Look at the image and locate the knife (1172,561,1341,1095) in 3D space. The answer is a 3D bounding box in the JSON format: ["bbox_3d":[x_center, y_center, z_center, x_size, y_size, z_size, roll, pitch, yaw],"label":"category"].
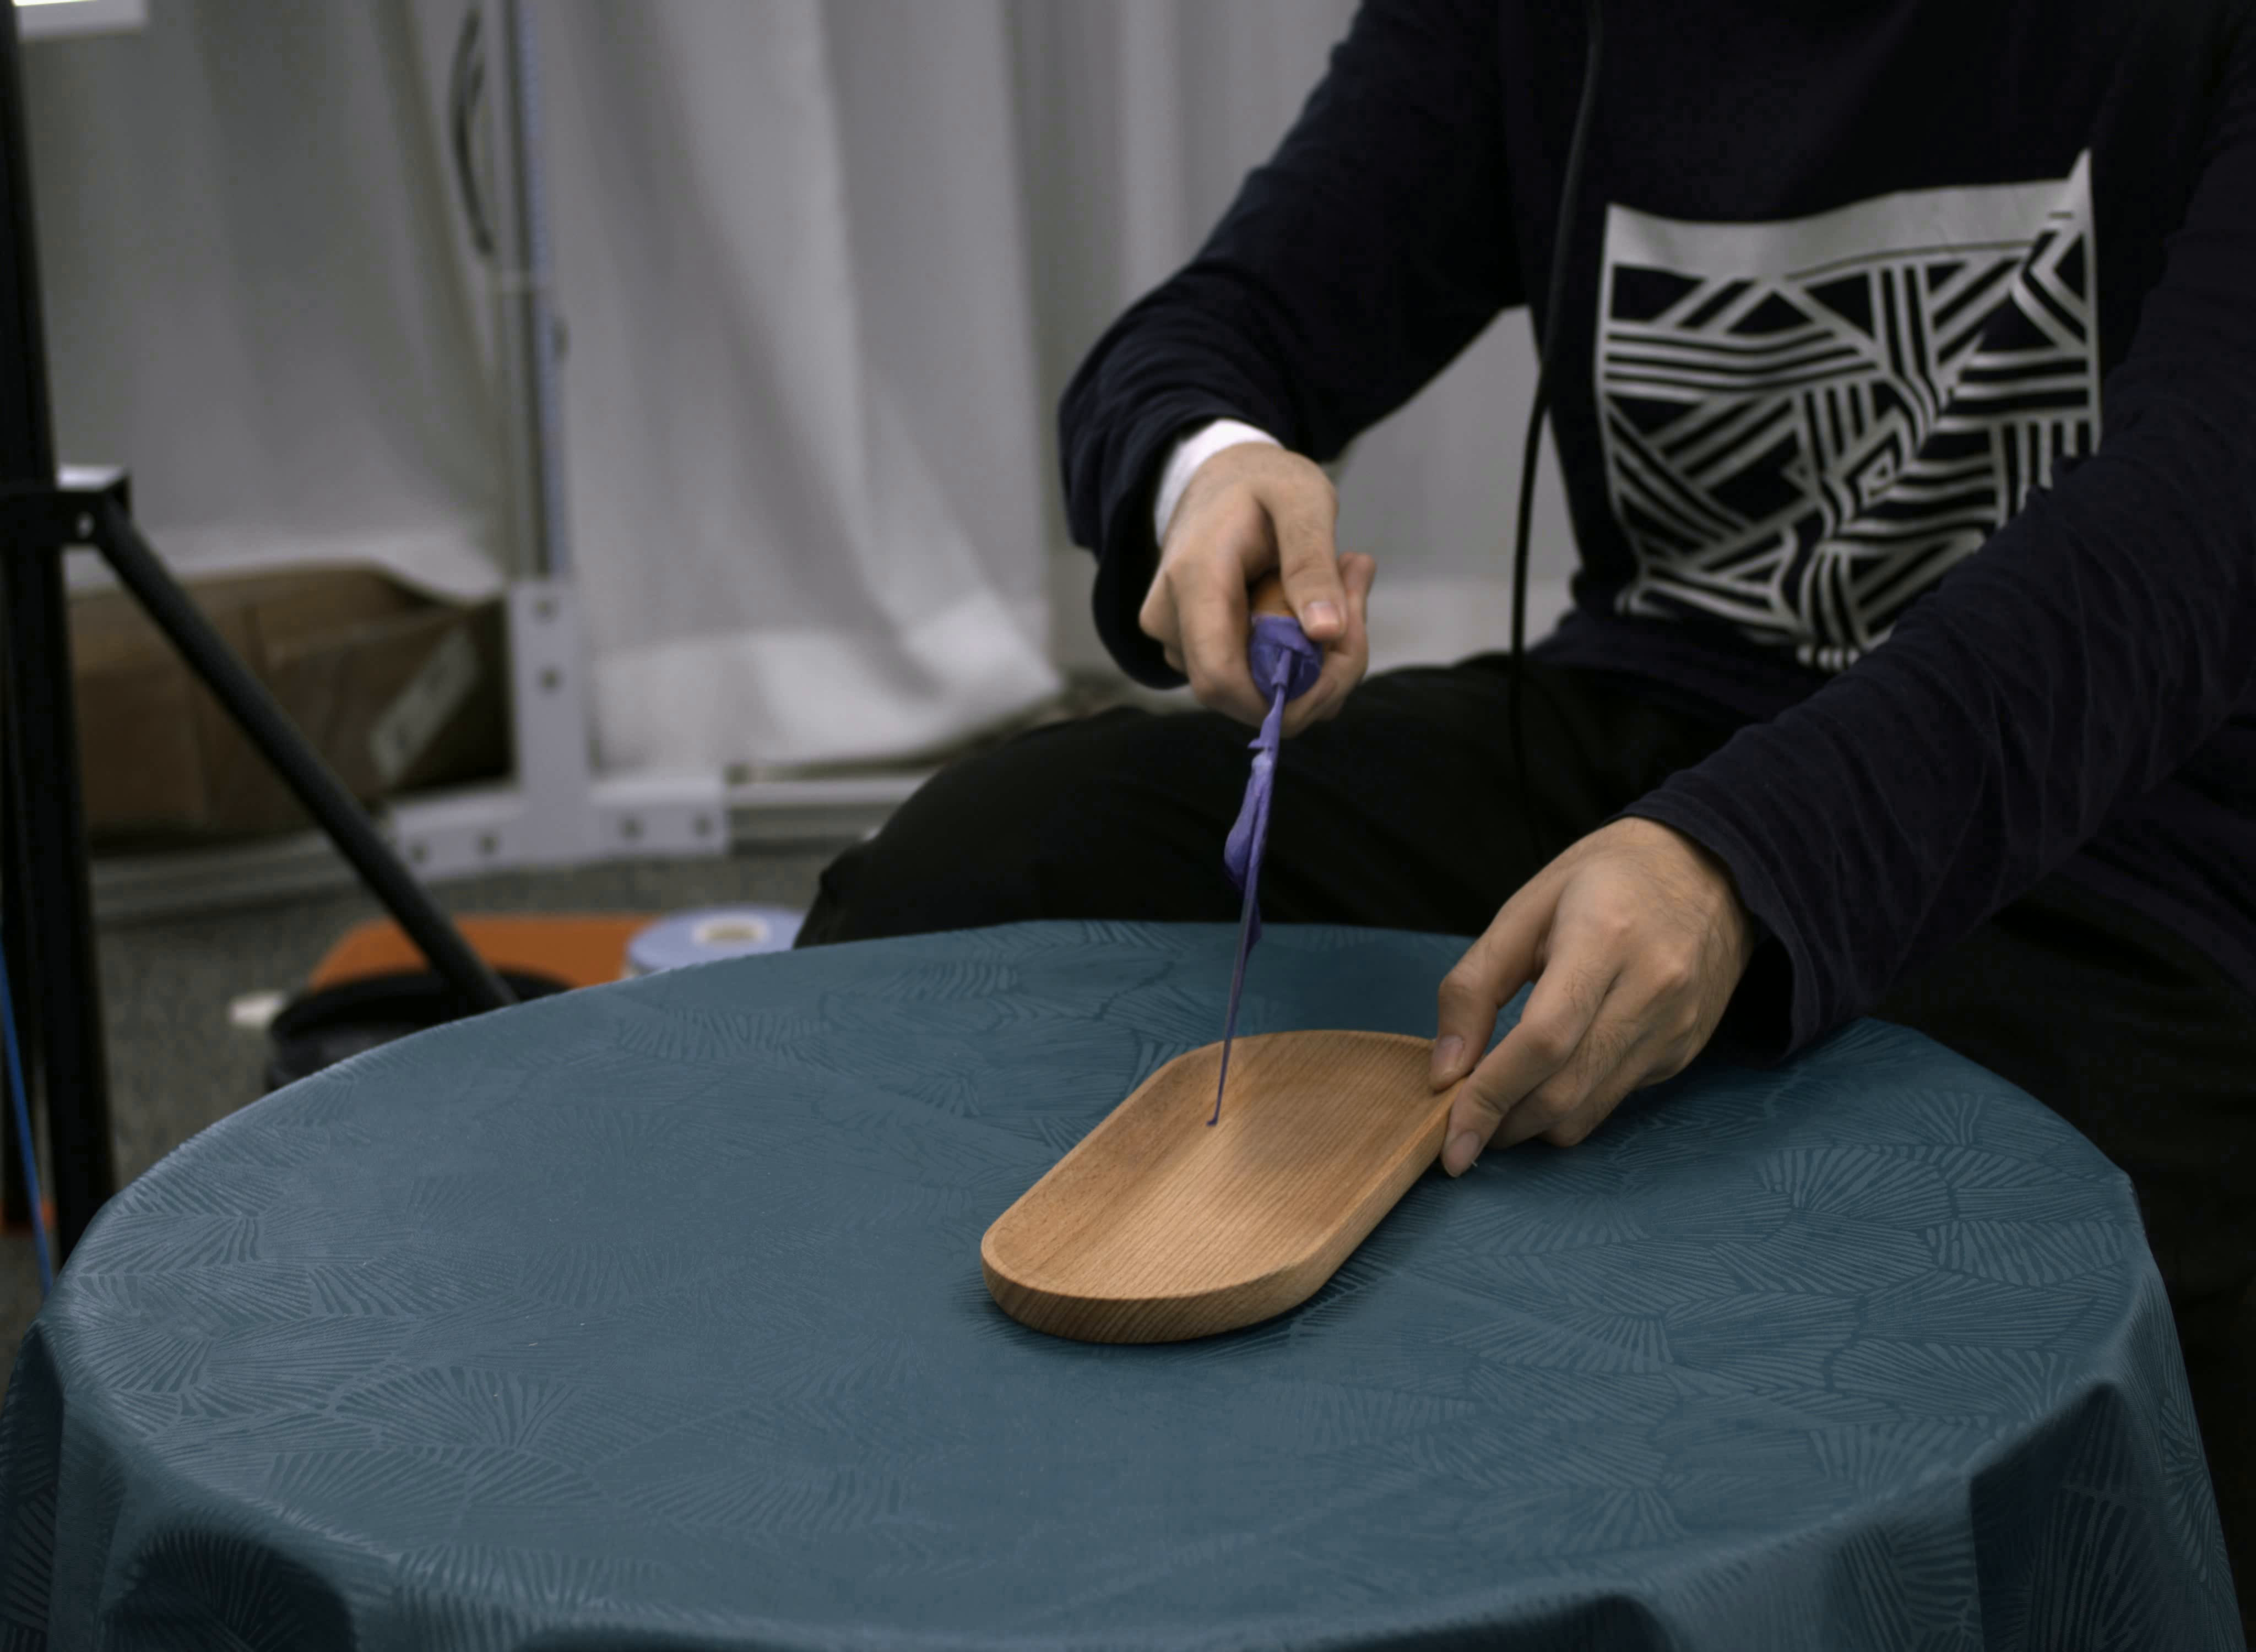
[{"bbox_3d":[0.037,-0.003,1.679,0.032,0.104,0.315,10,18,4],"label":"knife"}]

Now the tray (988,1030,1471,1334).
[{"bbox_3d":[0.033,0.101,1.544,0.103,0.020,0.228,2,15,19],"label":"tray"}]
